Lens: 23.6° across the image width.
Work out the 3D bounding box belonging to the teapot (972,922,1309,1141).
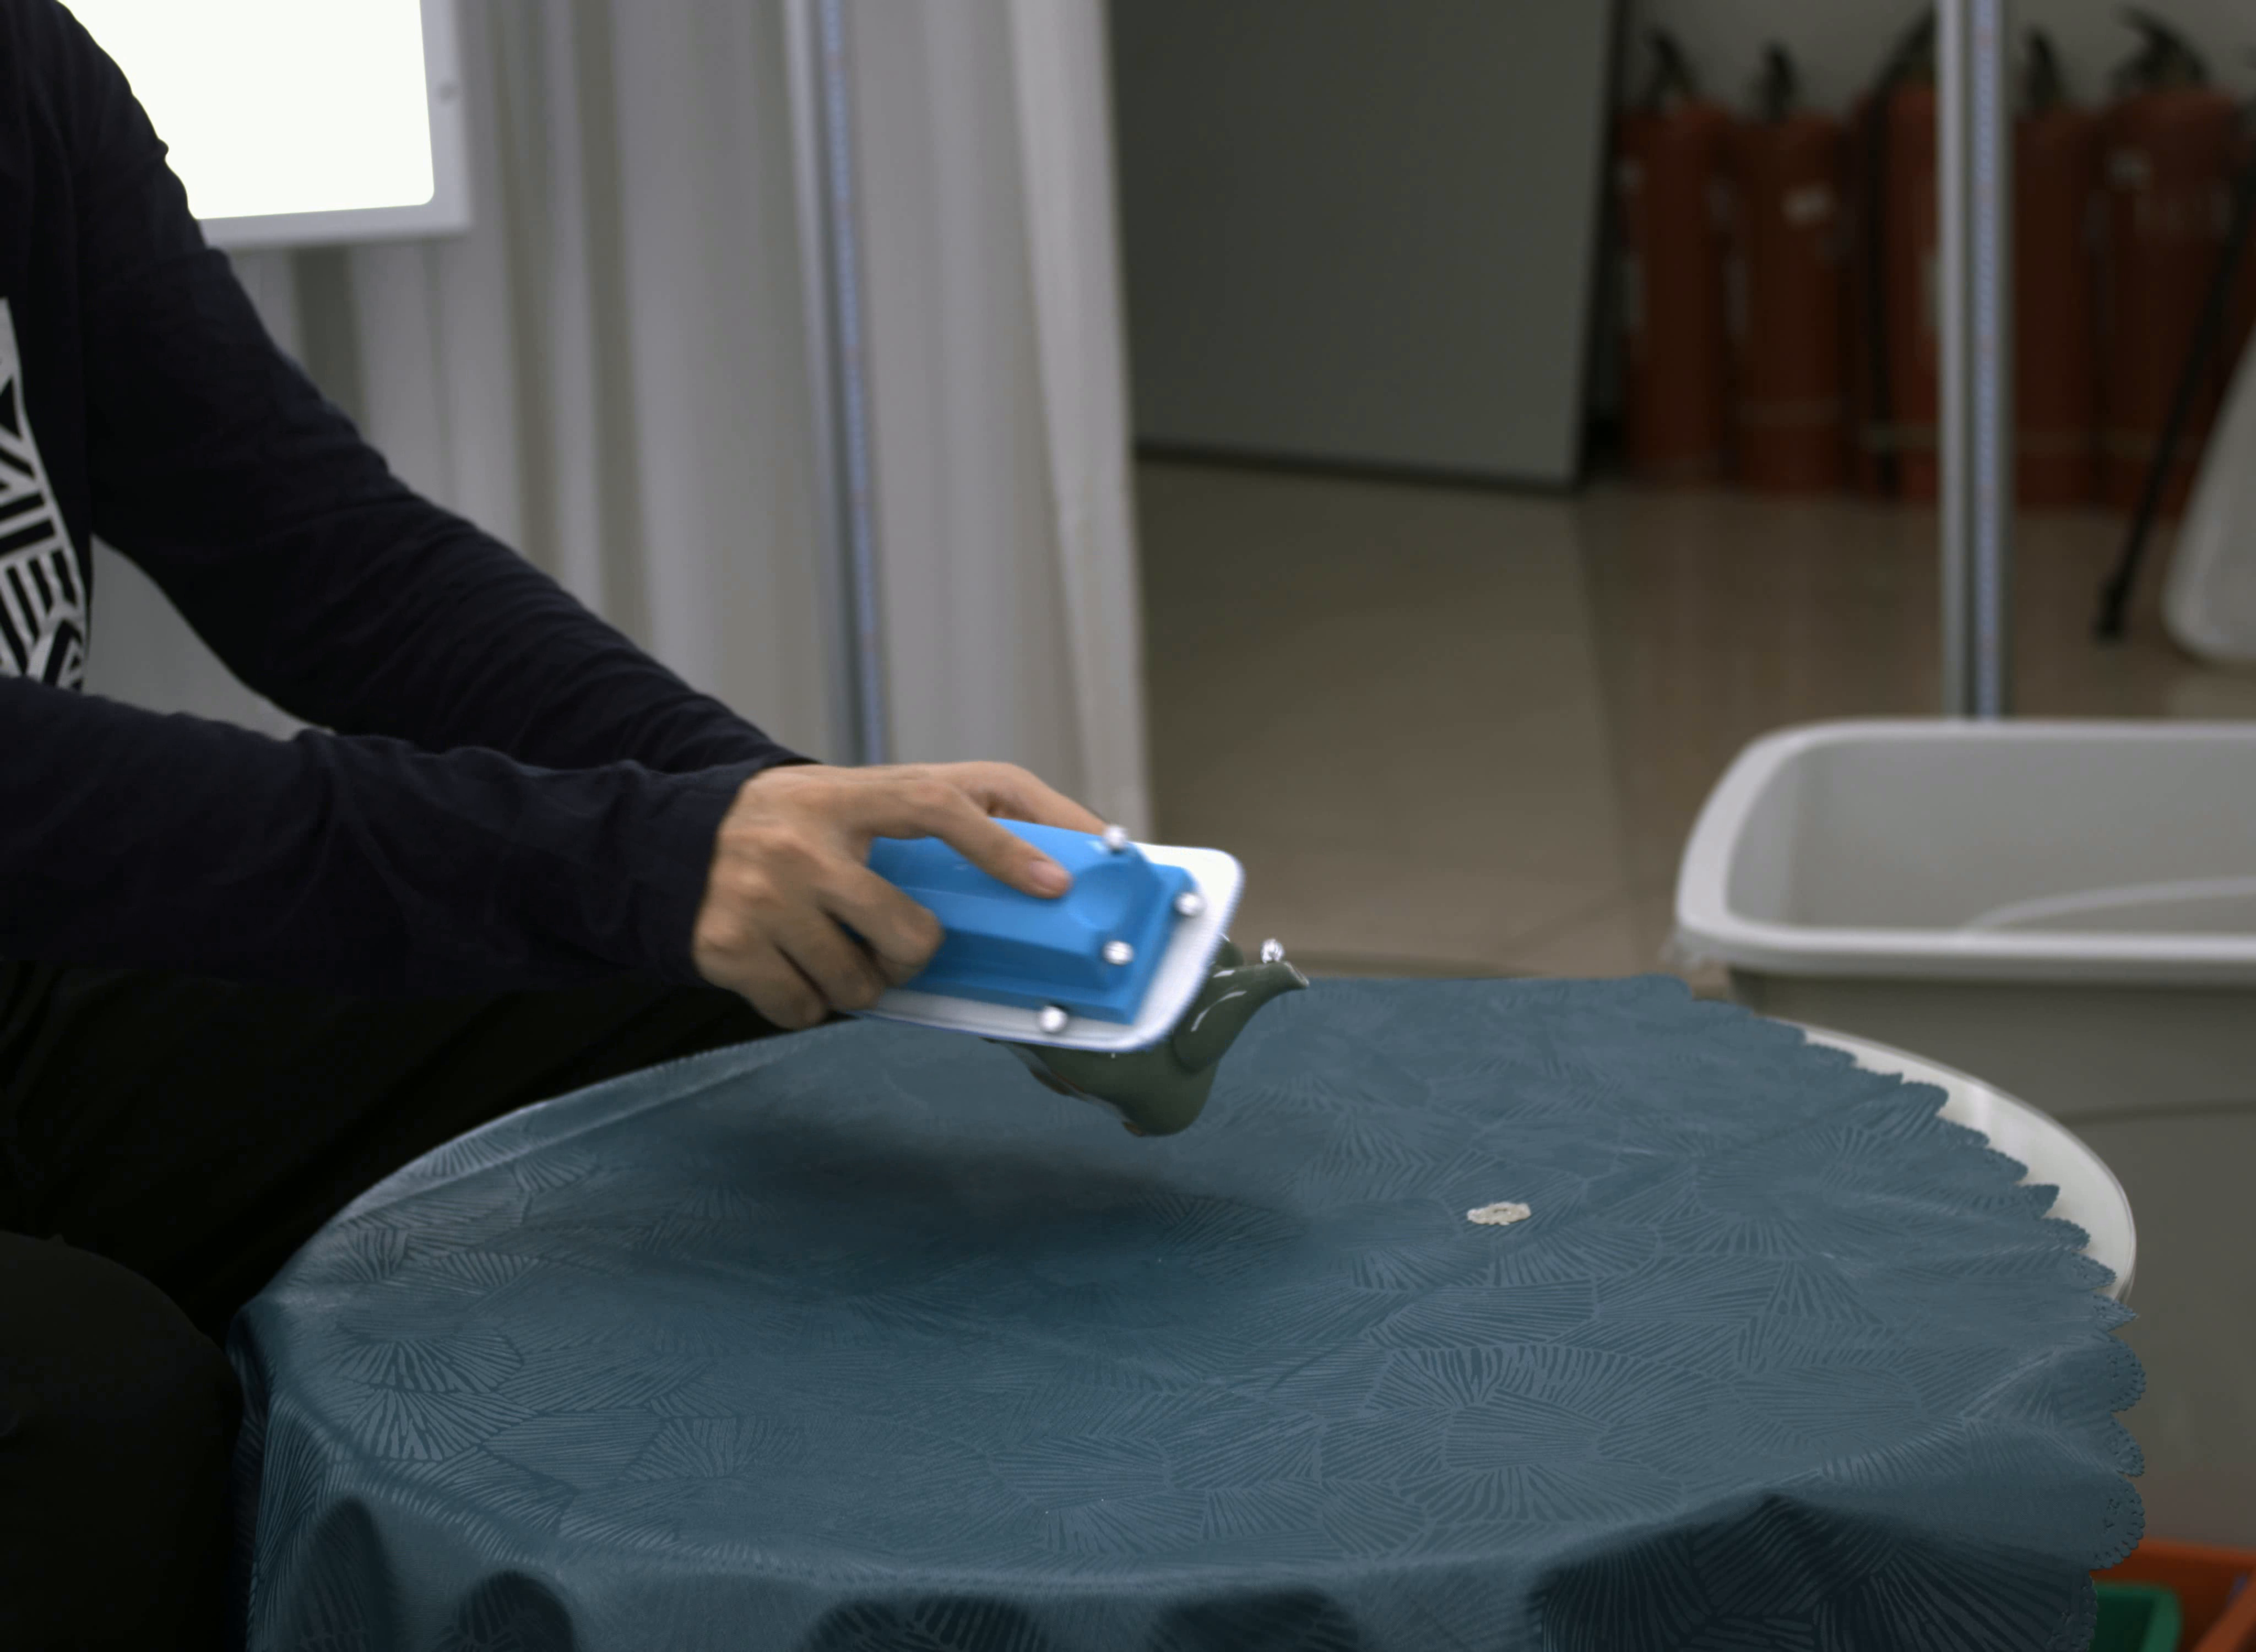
[{"bbox_3d":[-0.003,0.055,1.768,0.134,0.075,0.078,25,-11,42],"label":"teapot"}]

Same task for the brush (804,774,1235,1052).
[{"bbox_3d":[-0.040,0.023,1.732,0.145,0.055,0.084,11,61,35],"label":"brush"}]
